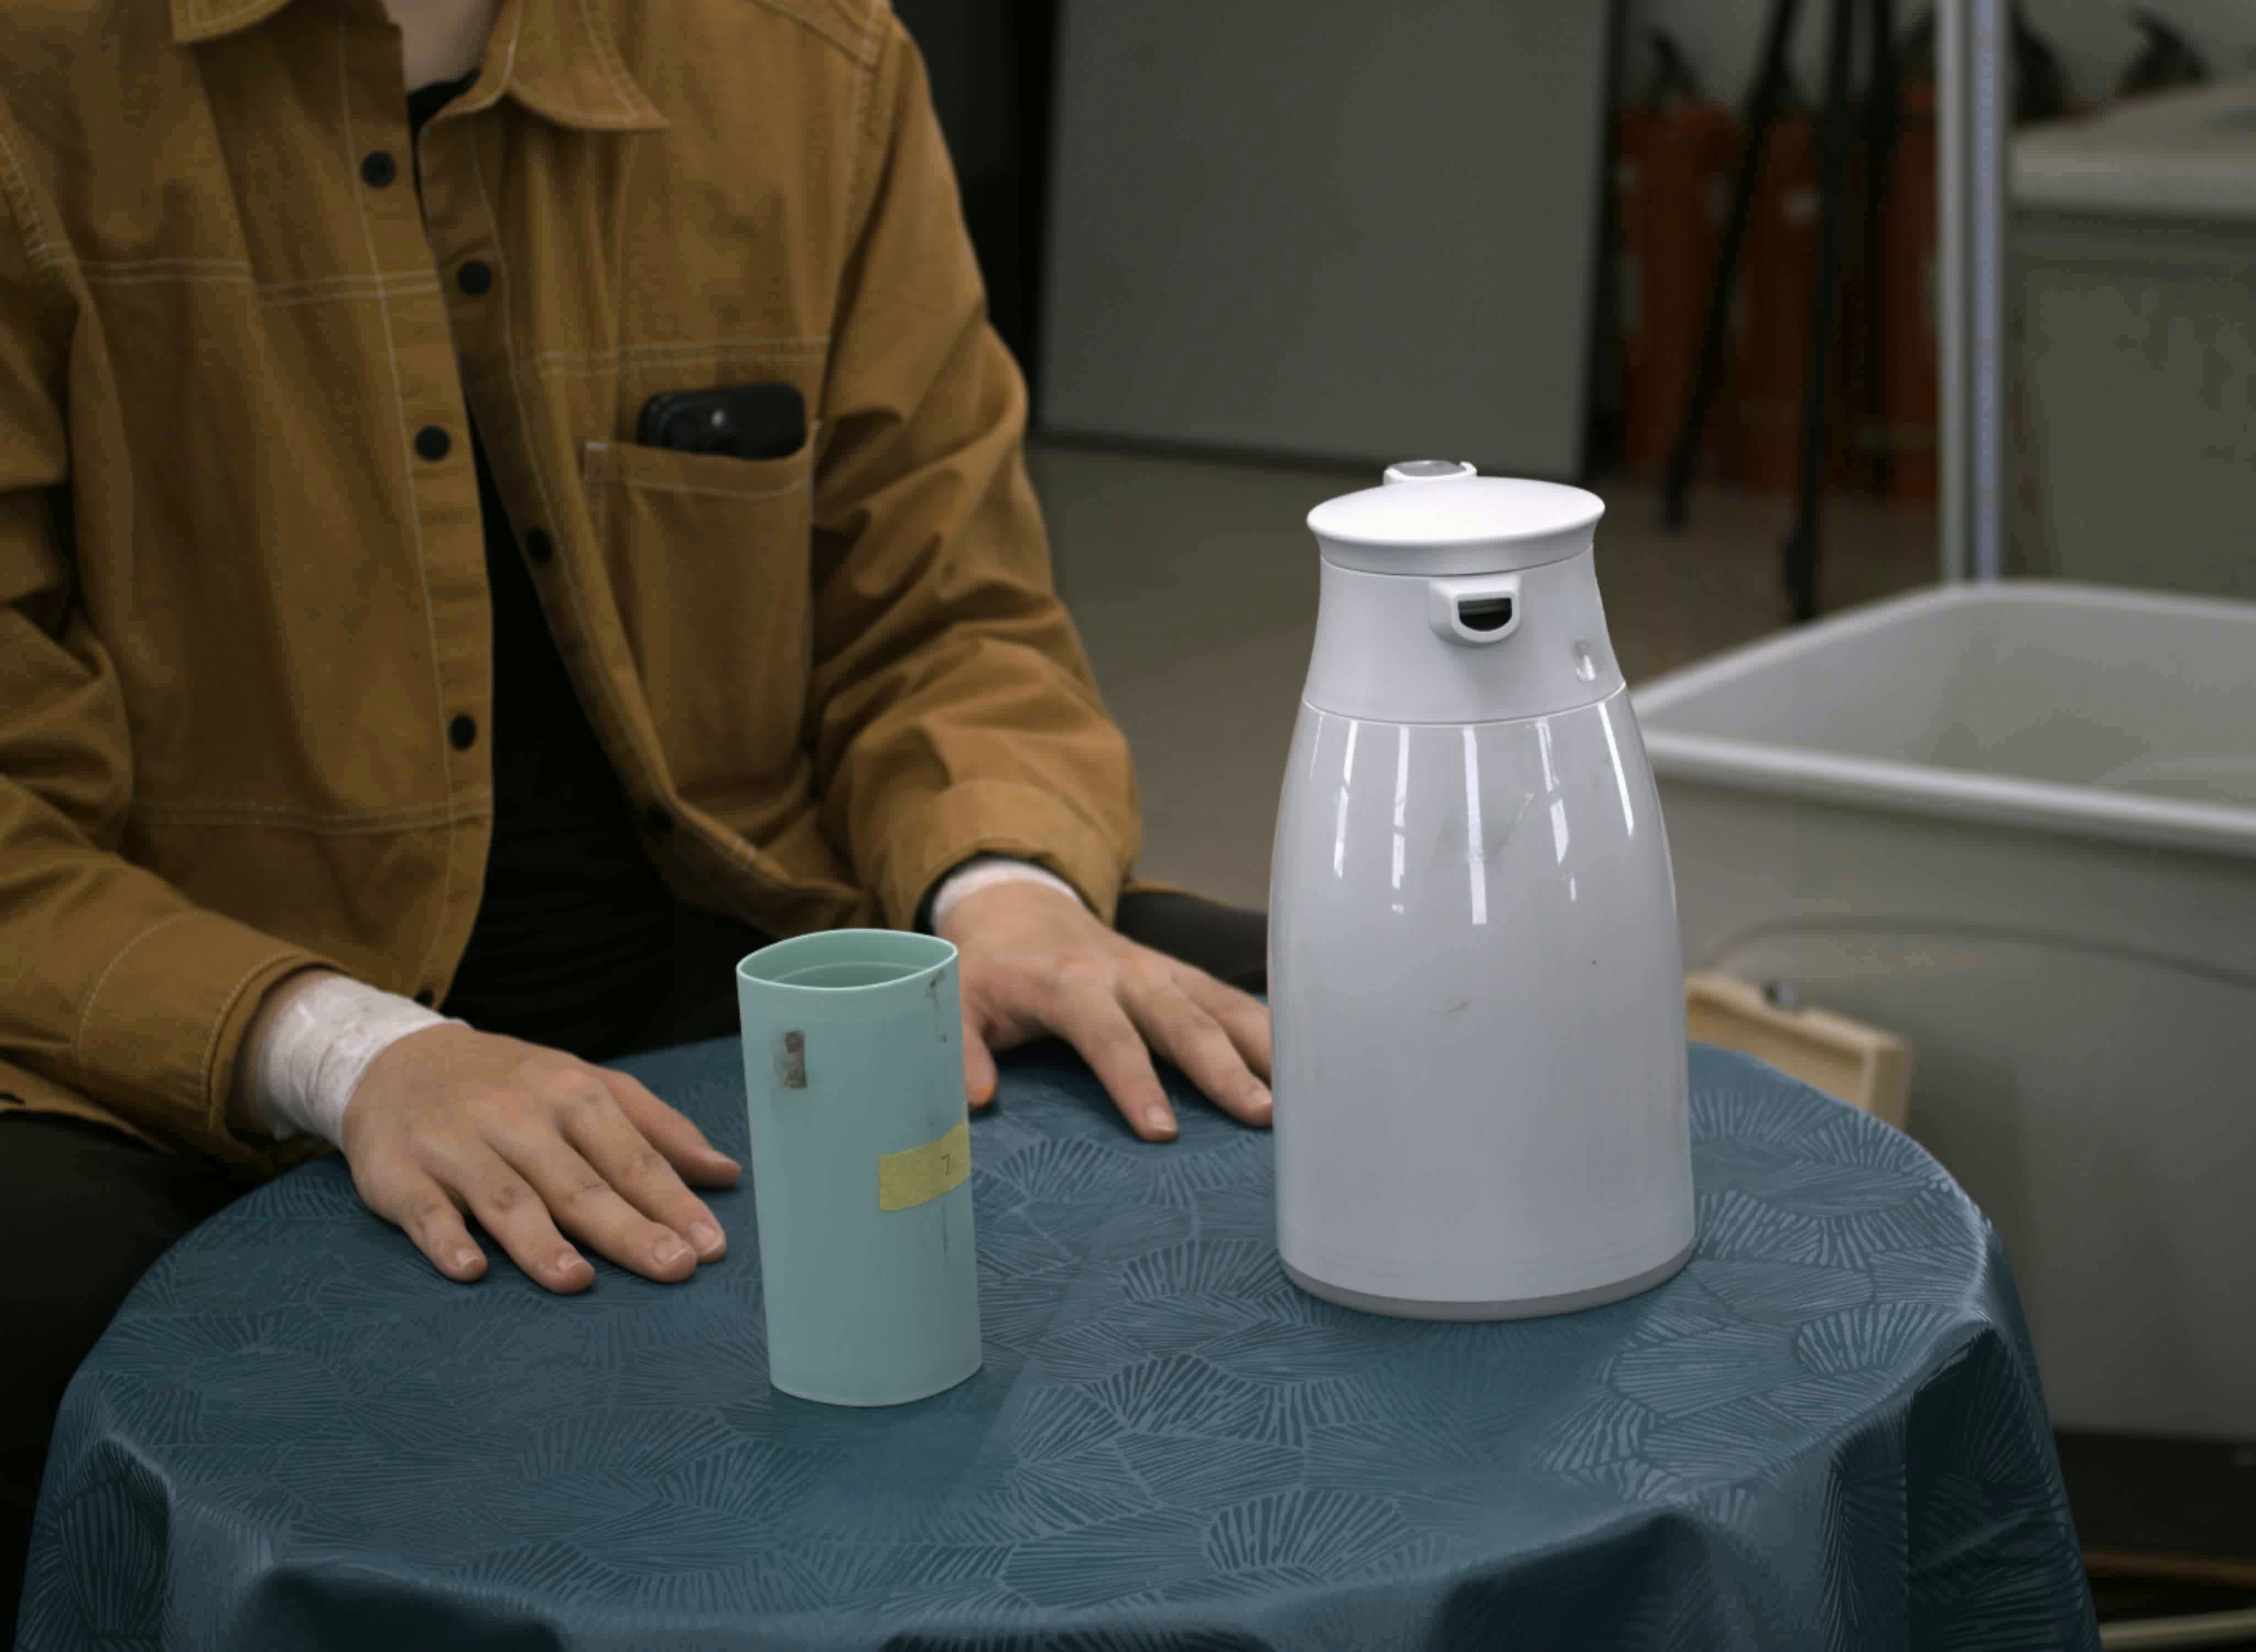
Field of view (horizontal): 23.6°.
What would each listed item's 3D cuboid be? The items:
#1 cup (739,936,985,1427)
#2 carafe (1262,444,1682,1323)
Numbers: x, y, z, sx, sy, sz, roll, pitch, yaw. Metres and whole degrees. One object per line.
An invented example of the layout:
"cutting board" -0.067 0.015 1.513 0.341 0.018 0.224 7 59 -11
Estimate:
"cup" -0.079 0.105 1.607 0.066 0.134 0.067 -4 13 0
"carafe" 0.102 0.010 1.679 0.130 0.251 0.168 -3 12 -3
